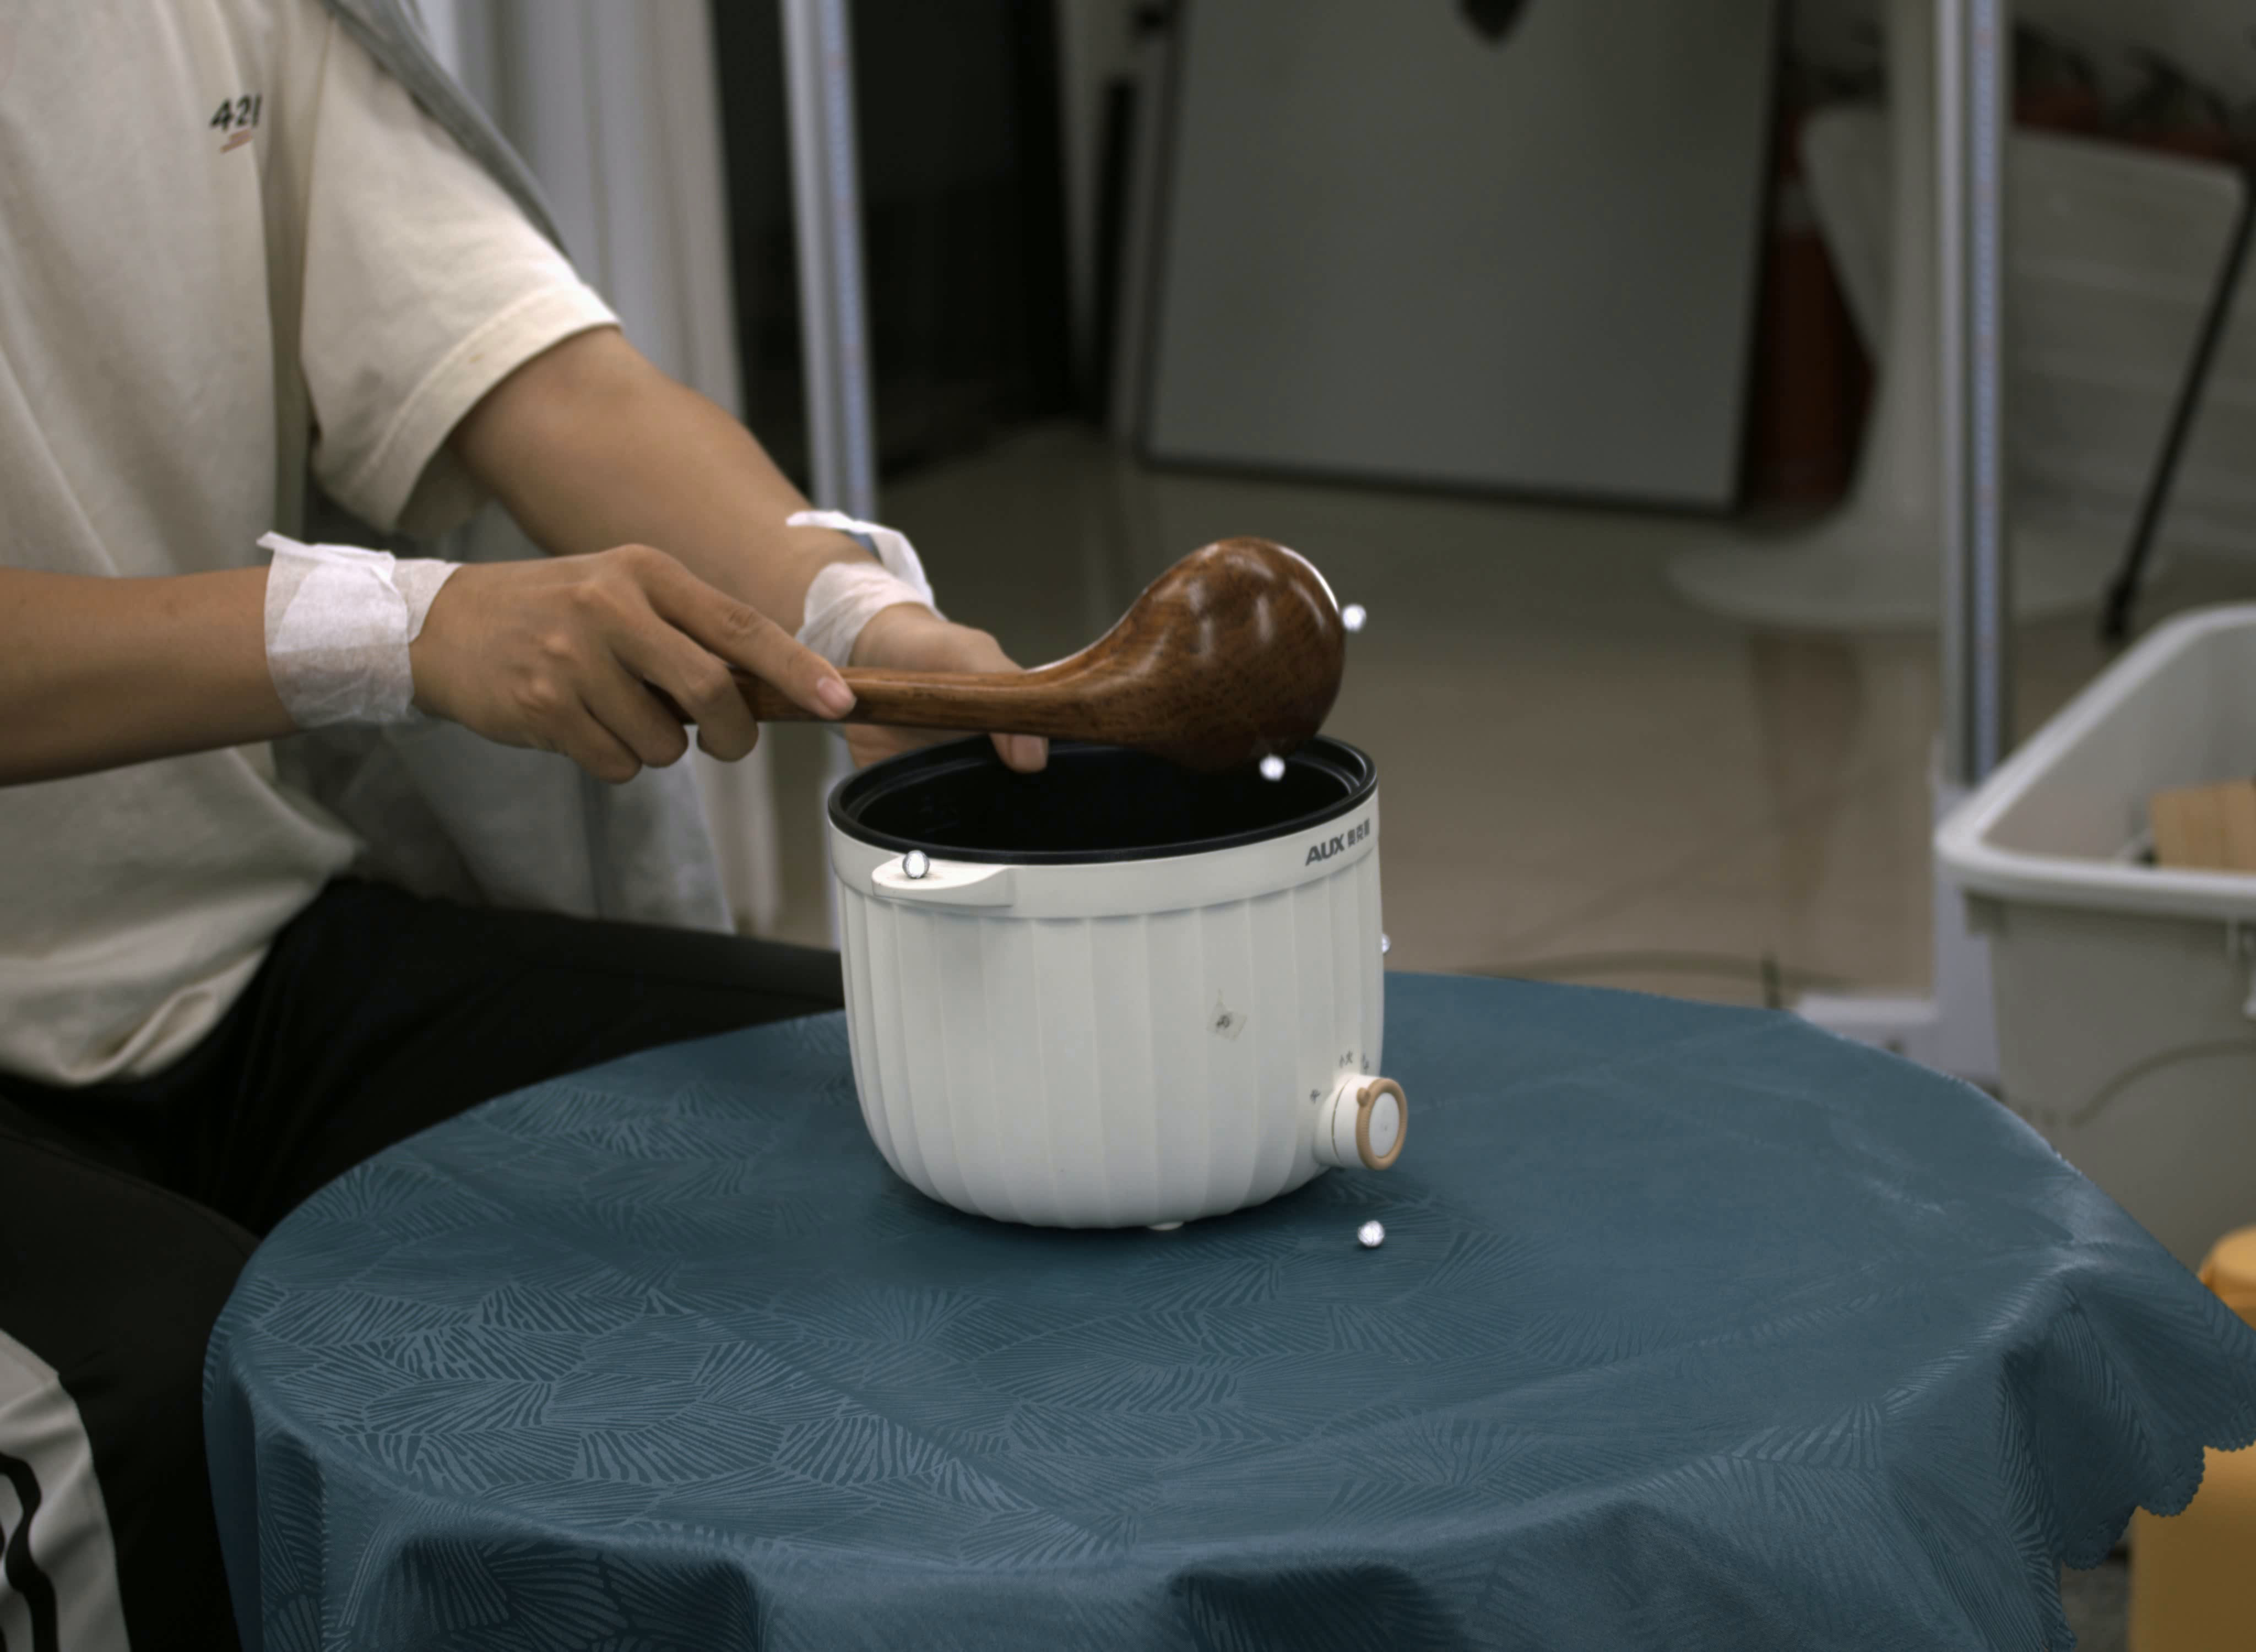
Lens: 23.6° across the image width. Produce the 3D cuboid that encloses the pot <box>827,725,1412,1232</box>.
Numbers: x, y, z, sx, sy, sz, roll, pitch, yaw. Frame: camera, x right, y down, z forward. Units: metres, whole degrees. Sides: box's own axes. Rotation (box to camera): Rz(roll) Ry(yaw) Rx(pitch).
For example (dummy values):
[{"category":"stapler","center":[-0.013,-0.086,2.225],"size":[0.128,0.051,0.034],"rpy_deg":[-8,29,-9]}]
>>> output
[{"category":"pot","center":[0.001,0.050,1.772],"size":[0.191,0.144,0.236],"rpy_deg":[1,15,33]}]

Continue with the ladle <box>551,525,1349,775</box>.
[{"category":"ladle","center":[-0.059,-0.054,1.798],"size":[0.274,0.082,0.076],"rpy_deg":[-1,23,26]}]
